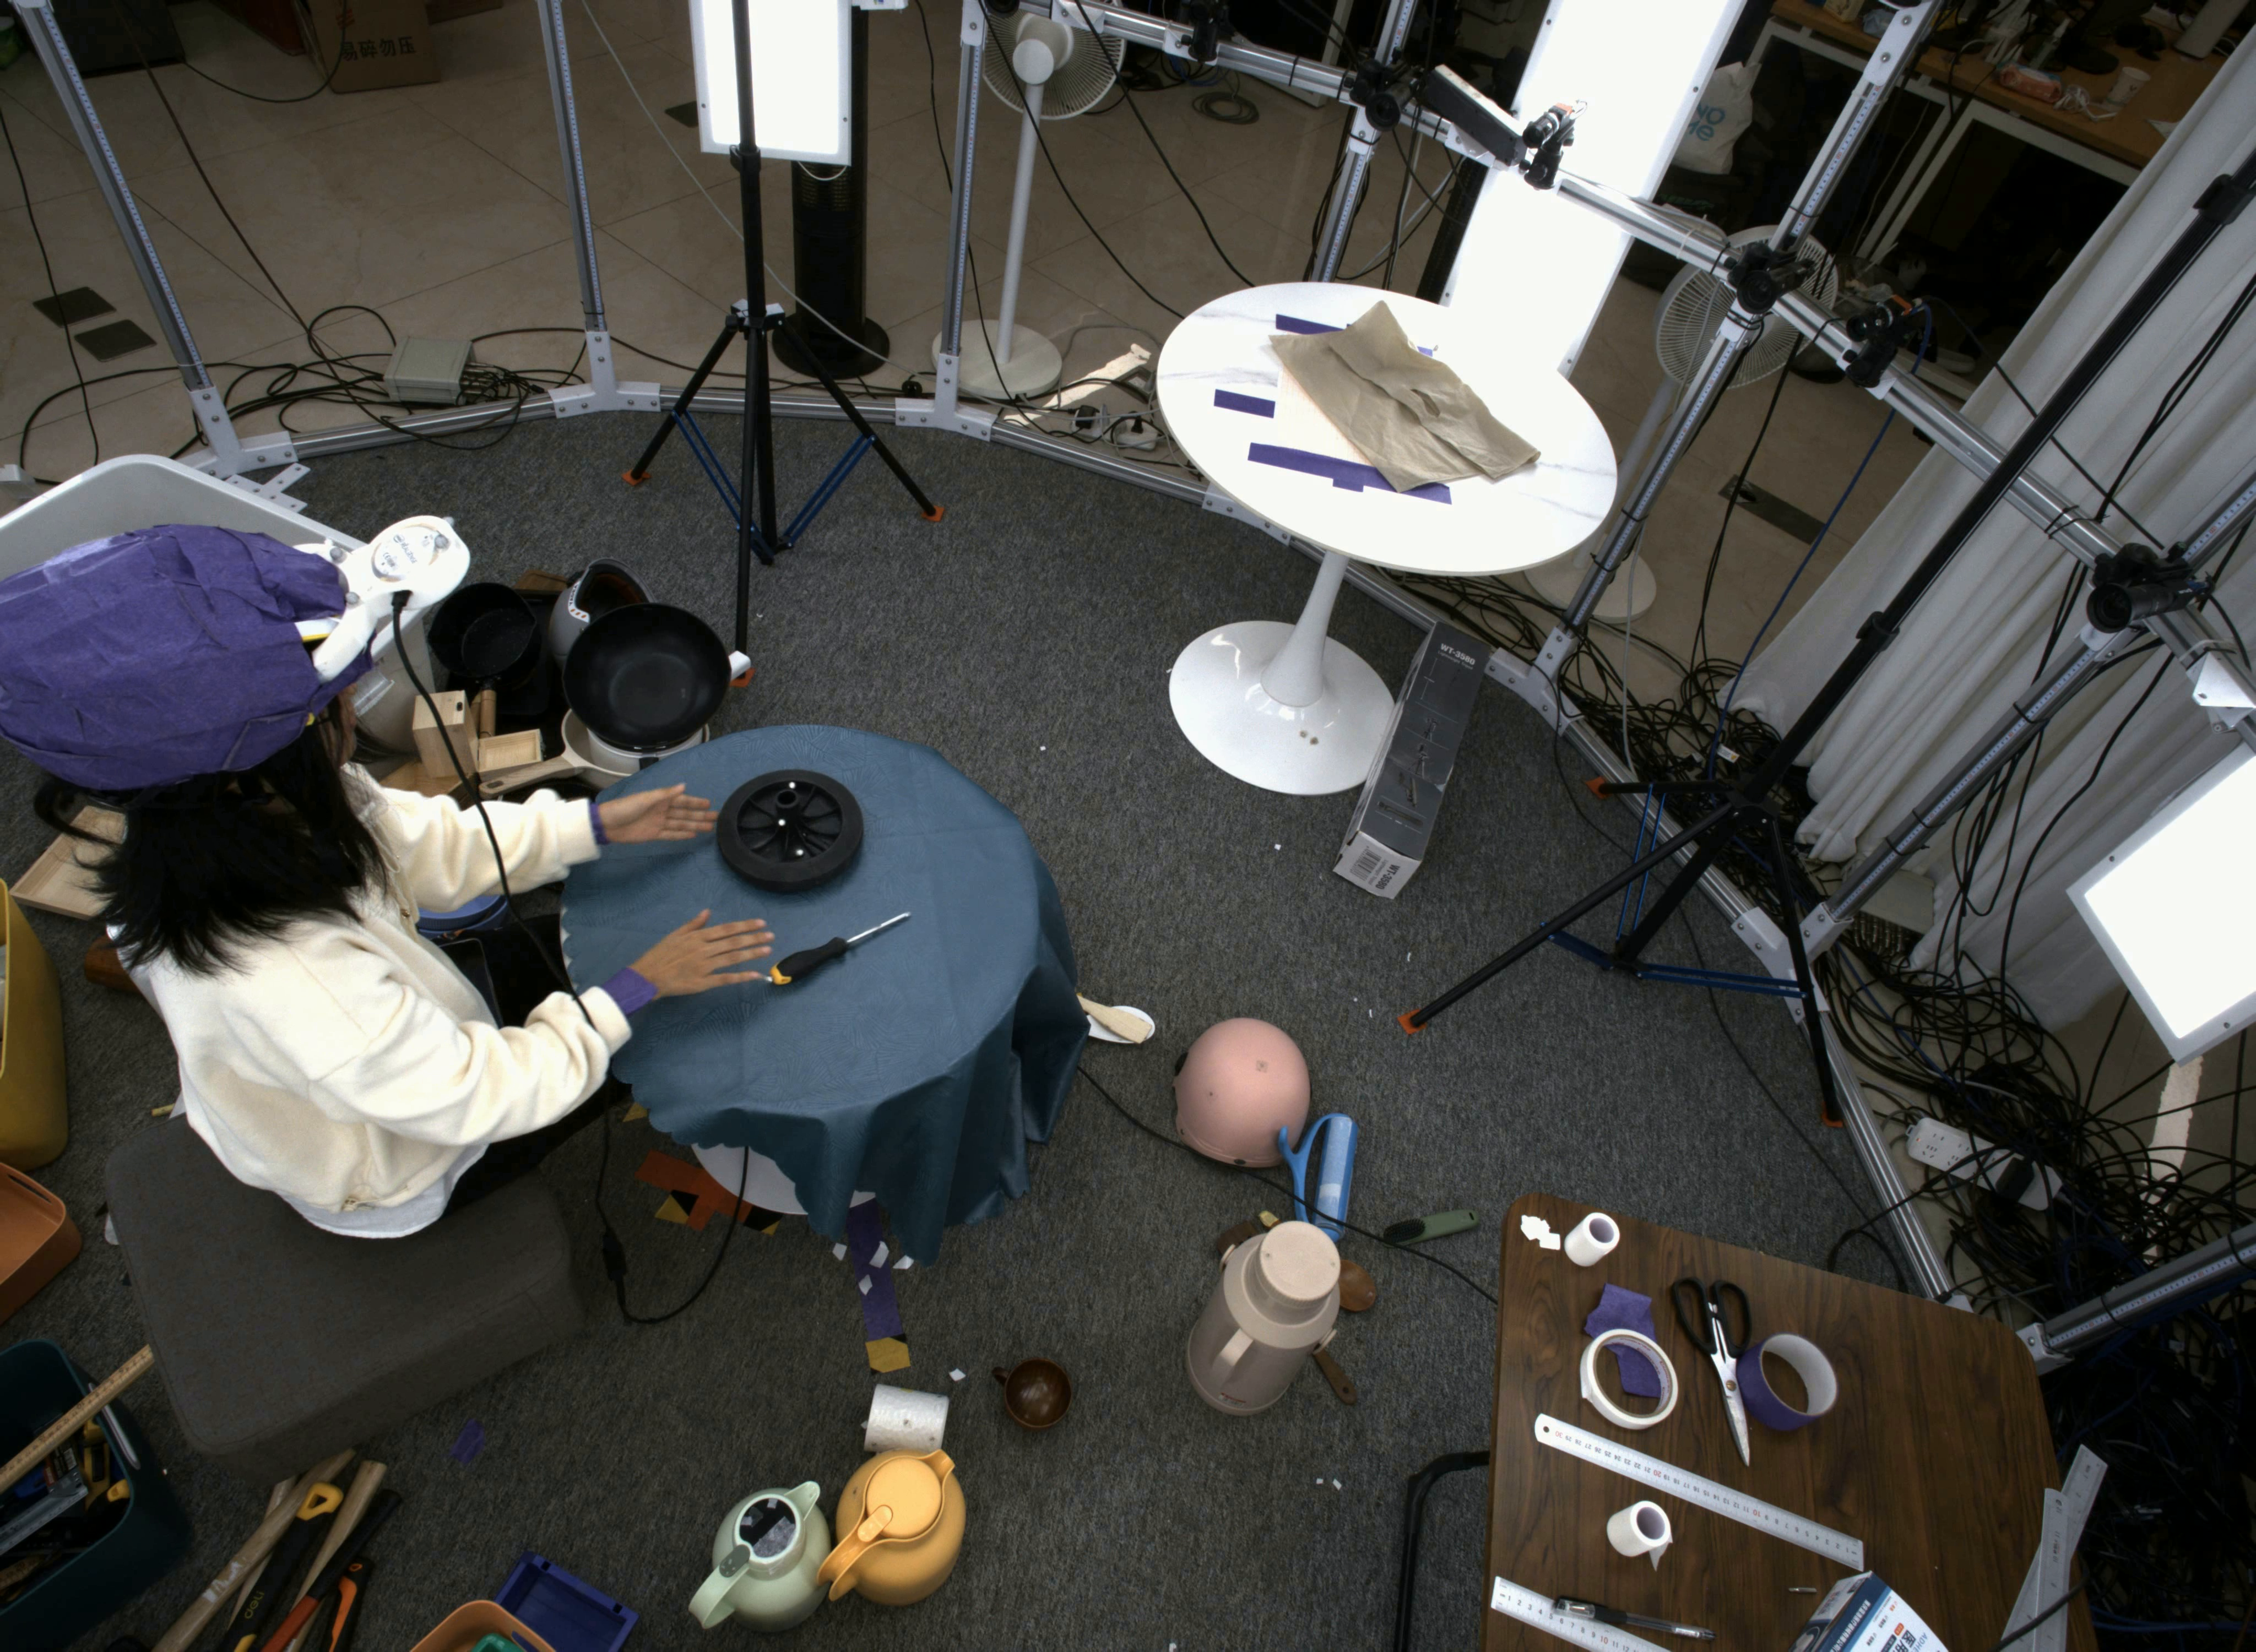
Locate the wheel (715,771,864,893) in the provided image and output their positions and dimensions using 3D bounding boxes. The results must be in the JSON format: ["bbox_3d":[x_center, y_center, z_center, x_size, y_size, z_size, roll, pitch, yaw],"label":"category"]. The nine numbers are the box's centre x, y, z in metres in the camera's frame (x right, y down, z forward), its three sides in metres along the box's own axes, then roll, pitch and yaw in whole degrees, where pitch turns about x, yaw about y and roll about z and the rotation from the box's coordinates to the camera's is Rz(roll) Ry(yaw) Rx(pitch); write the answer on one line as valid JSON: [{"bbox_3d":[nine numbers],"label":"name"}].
[{"bbox_3d":[-0.438,-0.009,1.673,0.189,0.081,0.184,12,52,-5],"label":"wheel"}]

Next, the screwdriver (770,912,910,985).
[{"bbox_3d":[-0.356,0.142,1.615,0.197,0.032,0.031,-29,64,-33],"label":"screwdriver"}]
